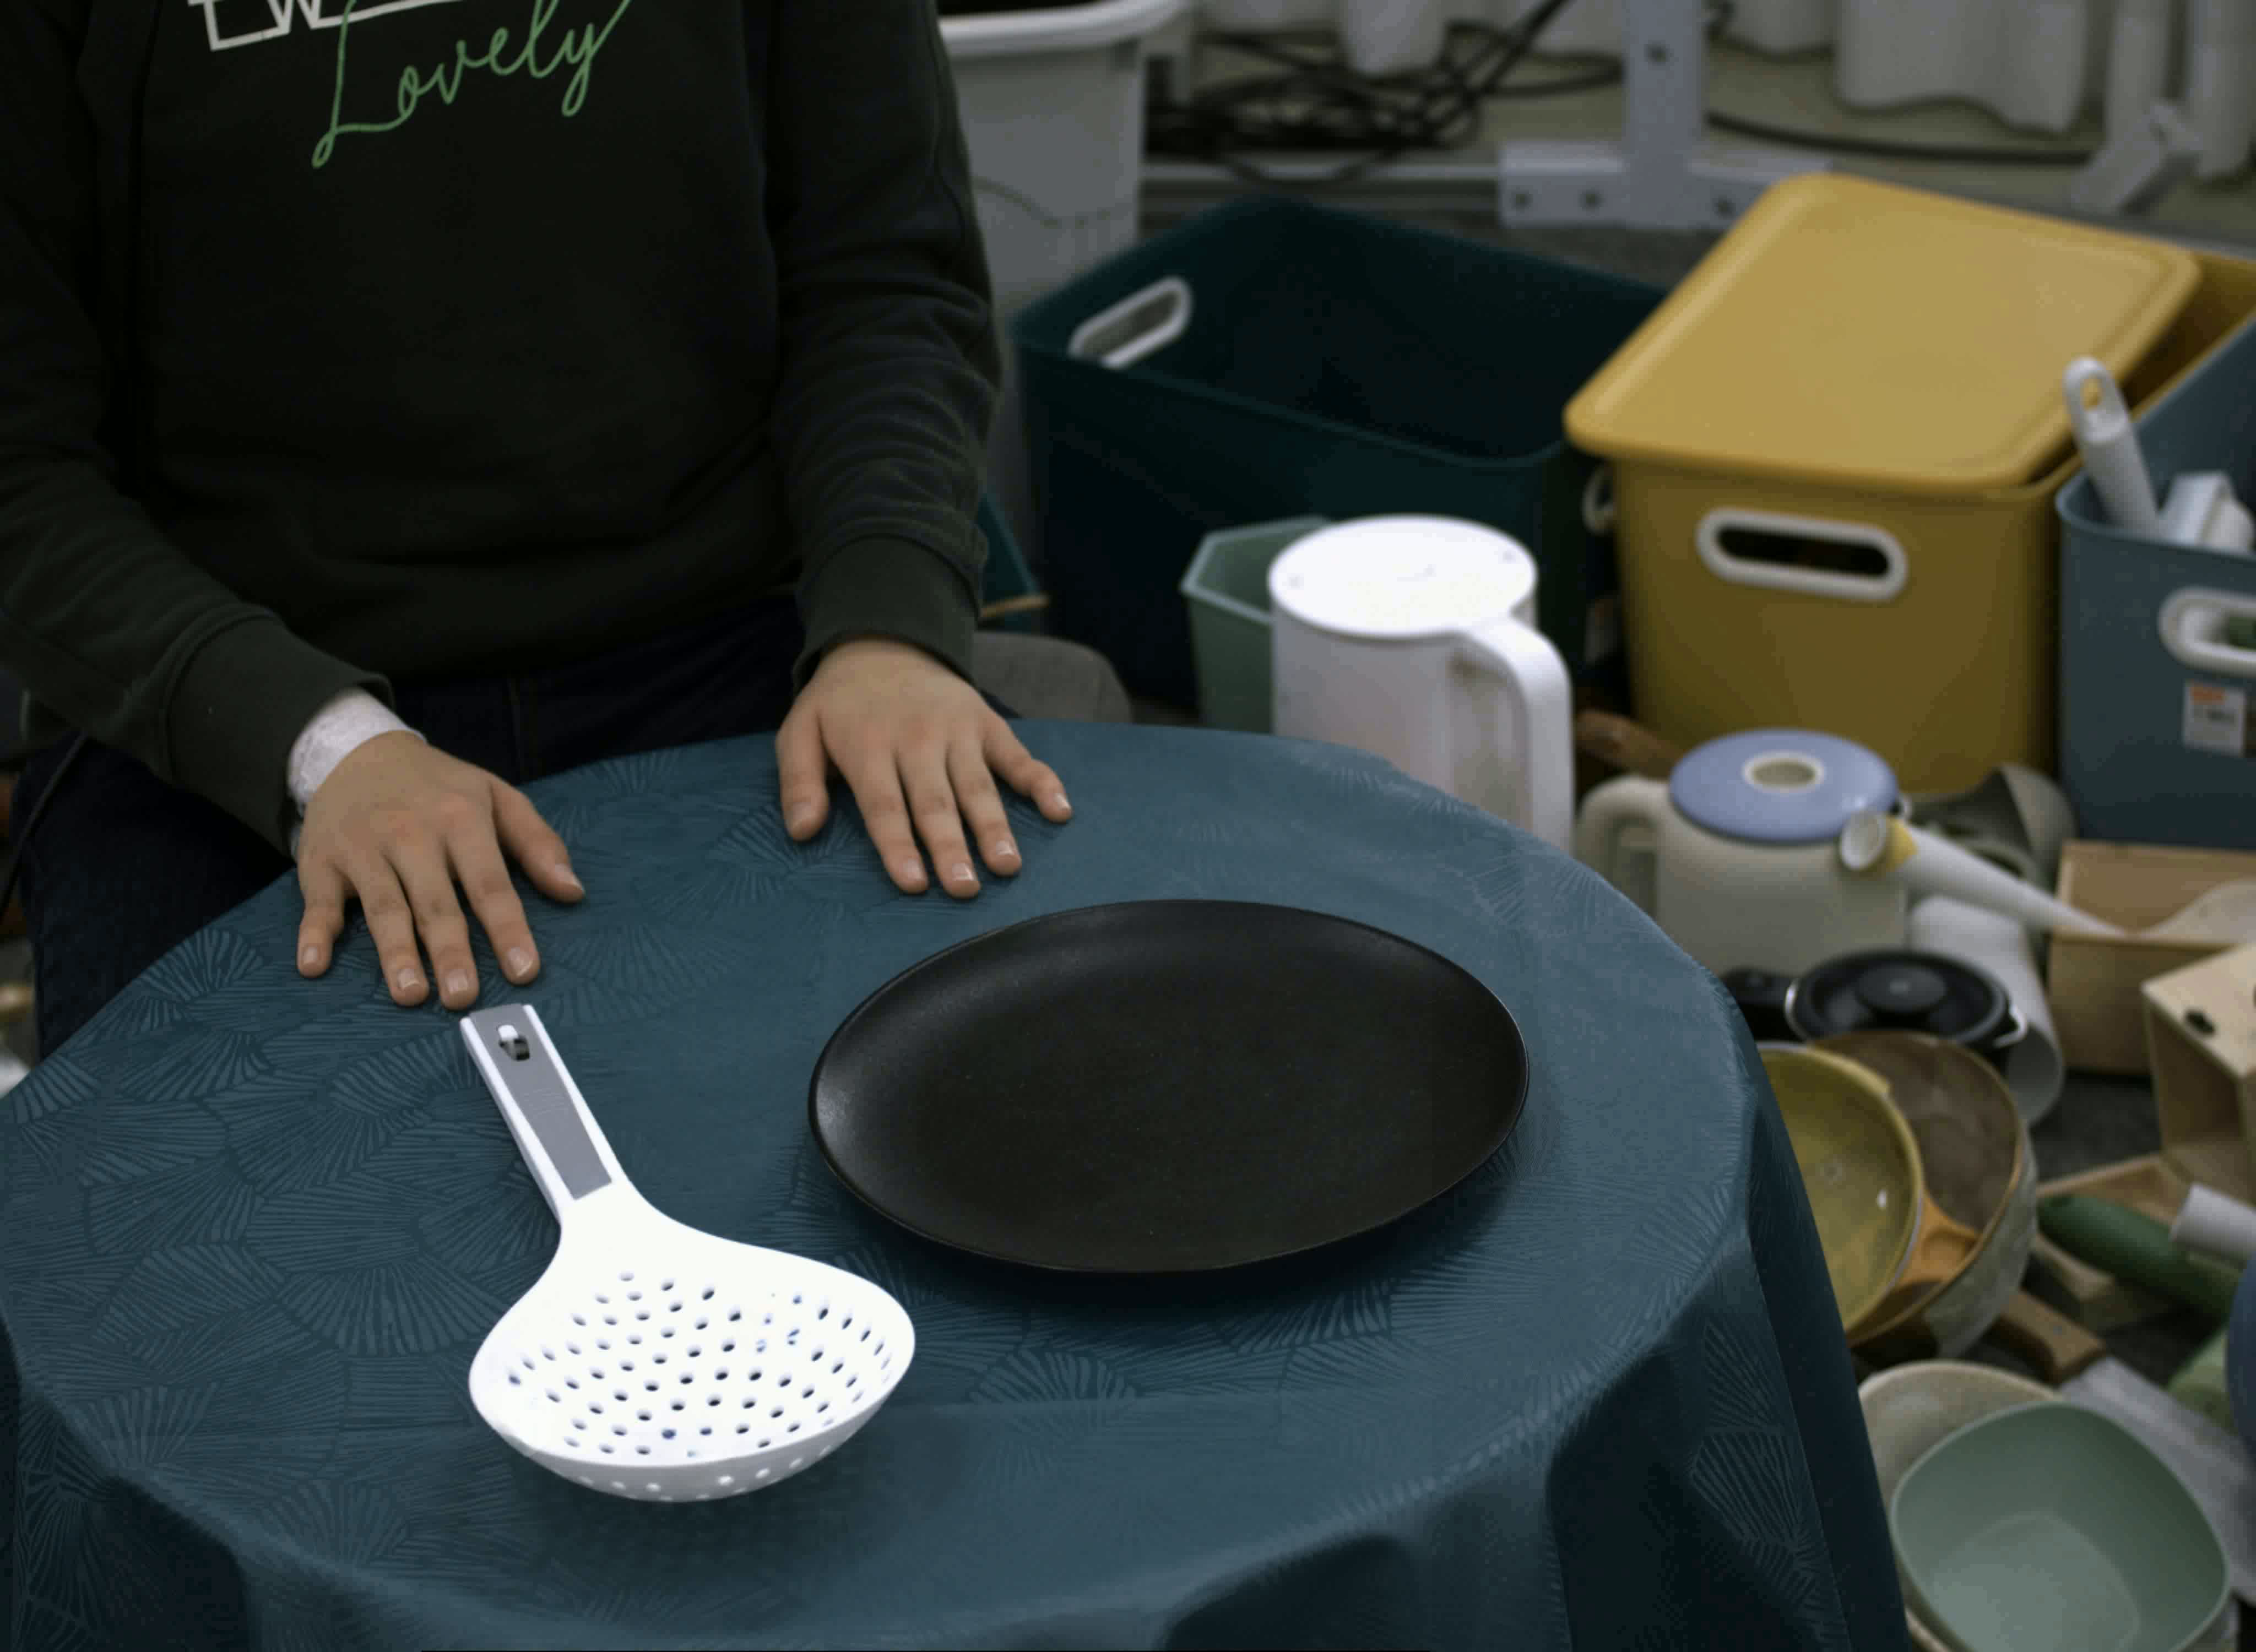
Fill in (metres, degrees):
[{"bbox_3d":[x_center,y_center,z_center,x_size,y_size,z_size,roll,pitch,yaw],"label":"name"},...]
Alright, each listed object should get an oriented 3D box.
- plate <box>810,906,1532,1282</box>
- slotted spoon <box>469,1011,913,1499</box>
[{"bbox_3d":[0.015,0.093,1.890,0.243,0.023,0.248,-2,27,2],"label":"plate"},{"bbox_3d":[-0.166,0.131,1.810,0.136,0.045,0.353,-9,27,-16],"label":"slotted spoon"}]
